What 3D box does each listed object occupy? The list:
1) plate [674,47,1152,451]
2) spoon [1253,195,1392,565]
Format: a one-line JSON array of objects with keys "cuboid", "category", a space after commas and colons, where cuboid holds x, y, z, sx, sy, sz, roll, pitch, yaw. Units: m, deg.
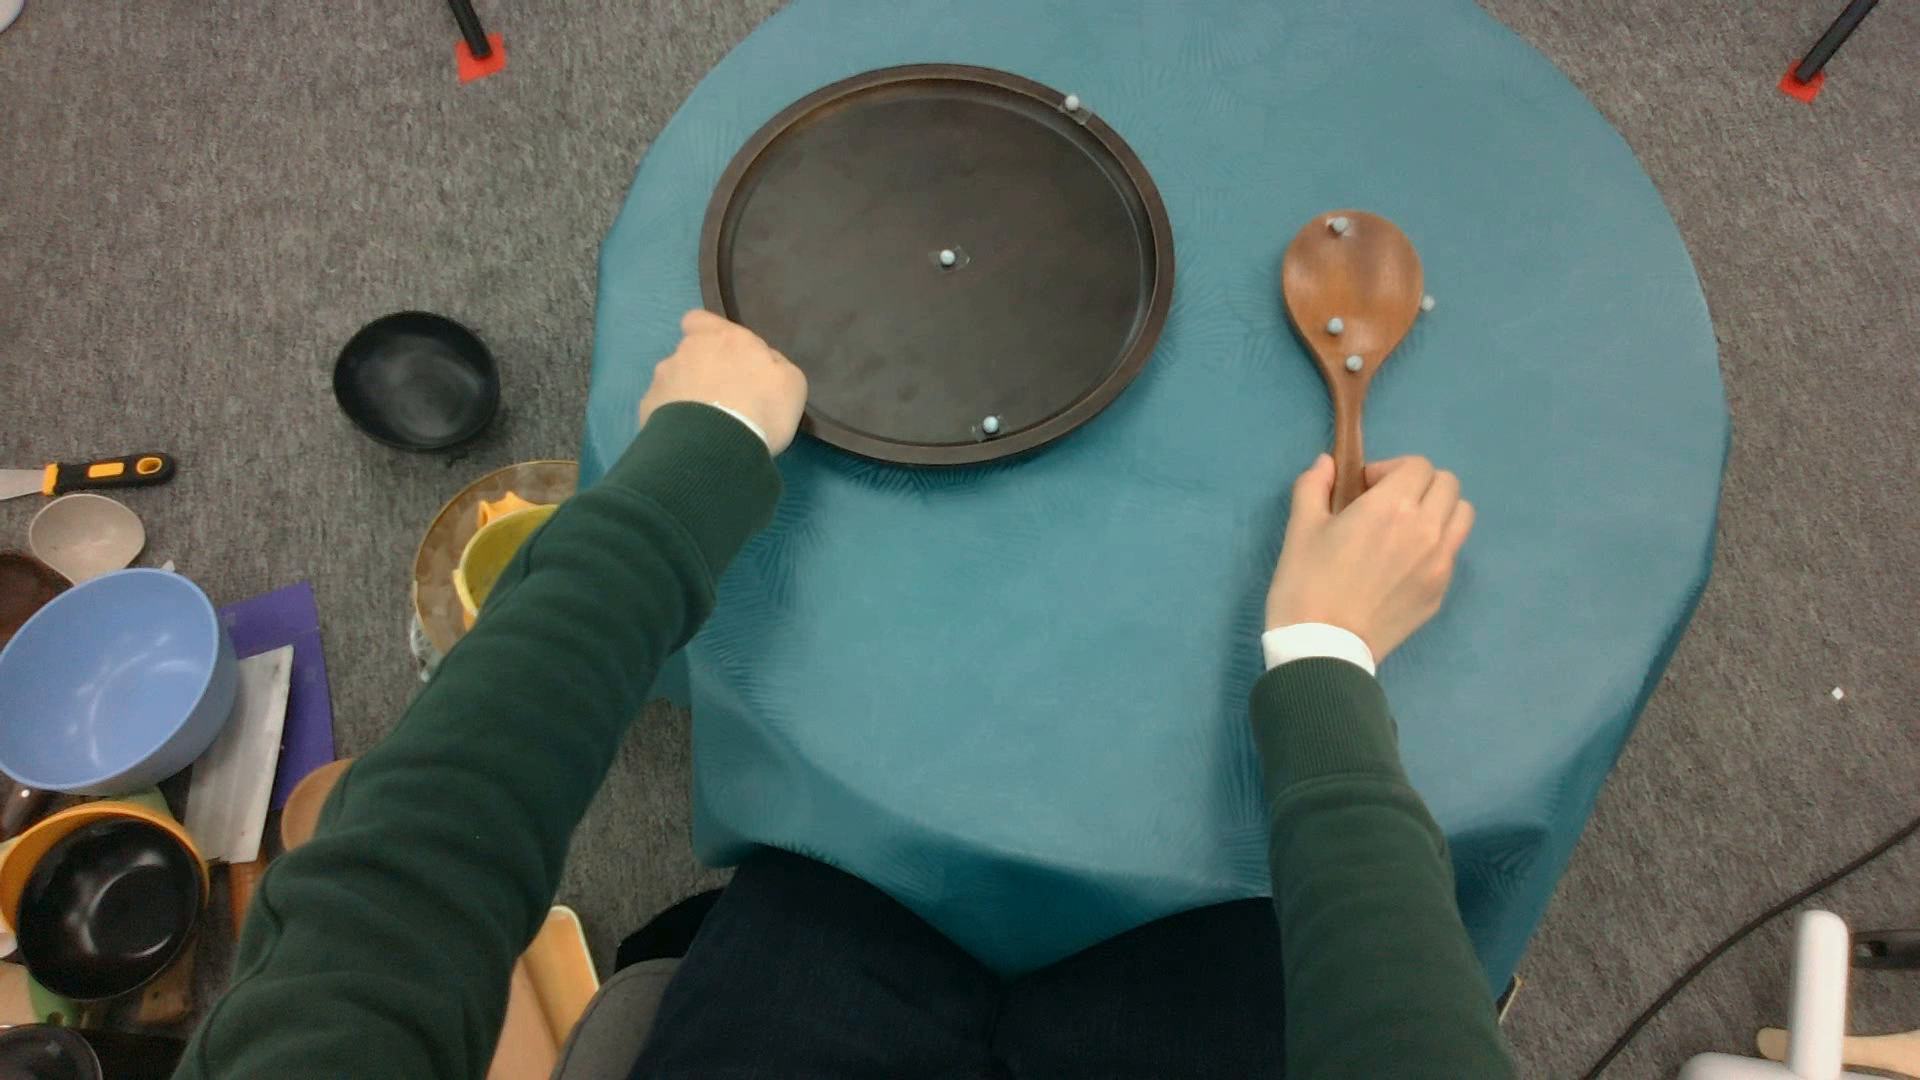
[{"cuboid": [-0.025, -0.159, 0.736, 0.255, 0.029, 0.255, 1, 65, -1], "category": "plate"}, {"cuboid": [0.188, -0.087, 0.714, 0.075, 0.017, 0.216, 6, 66, 0], "category": "spoon"}]
